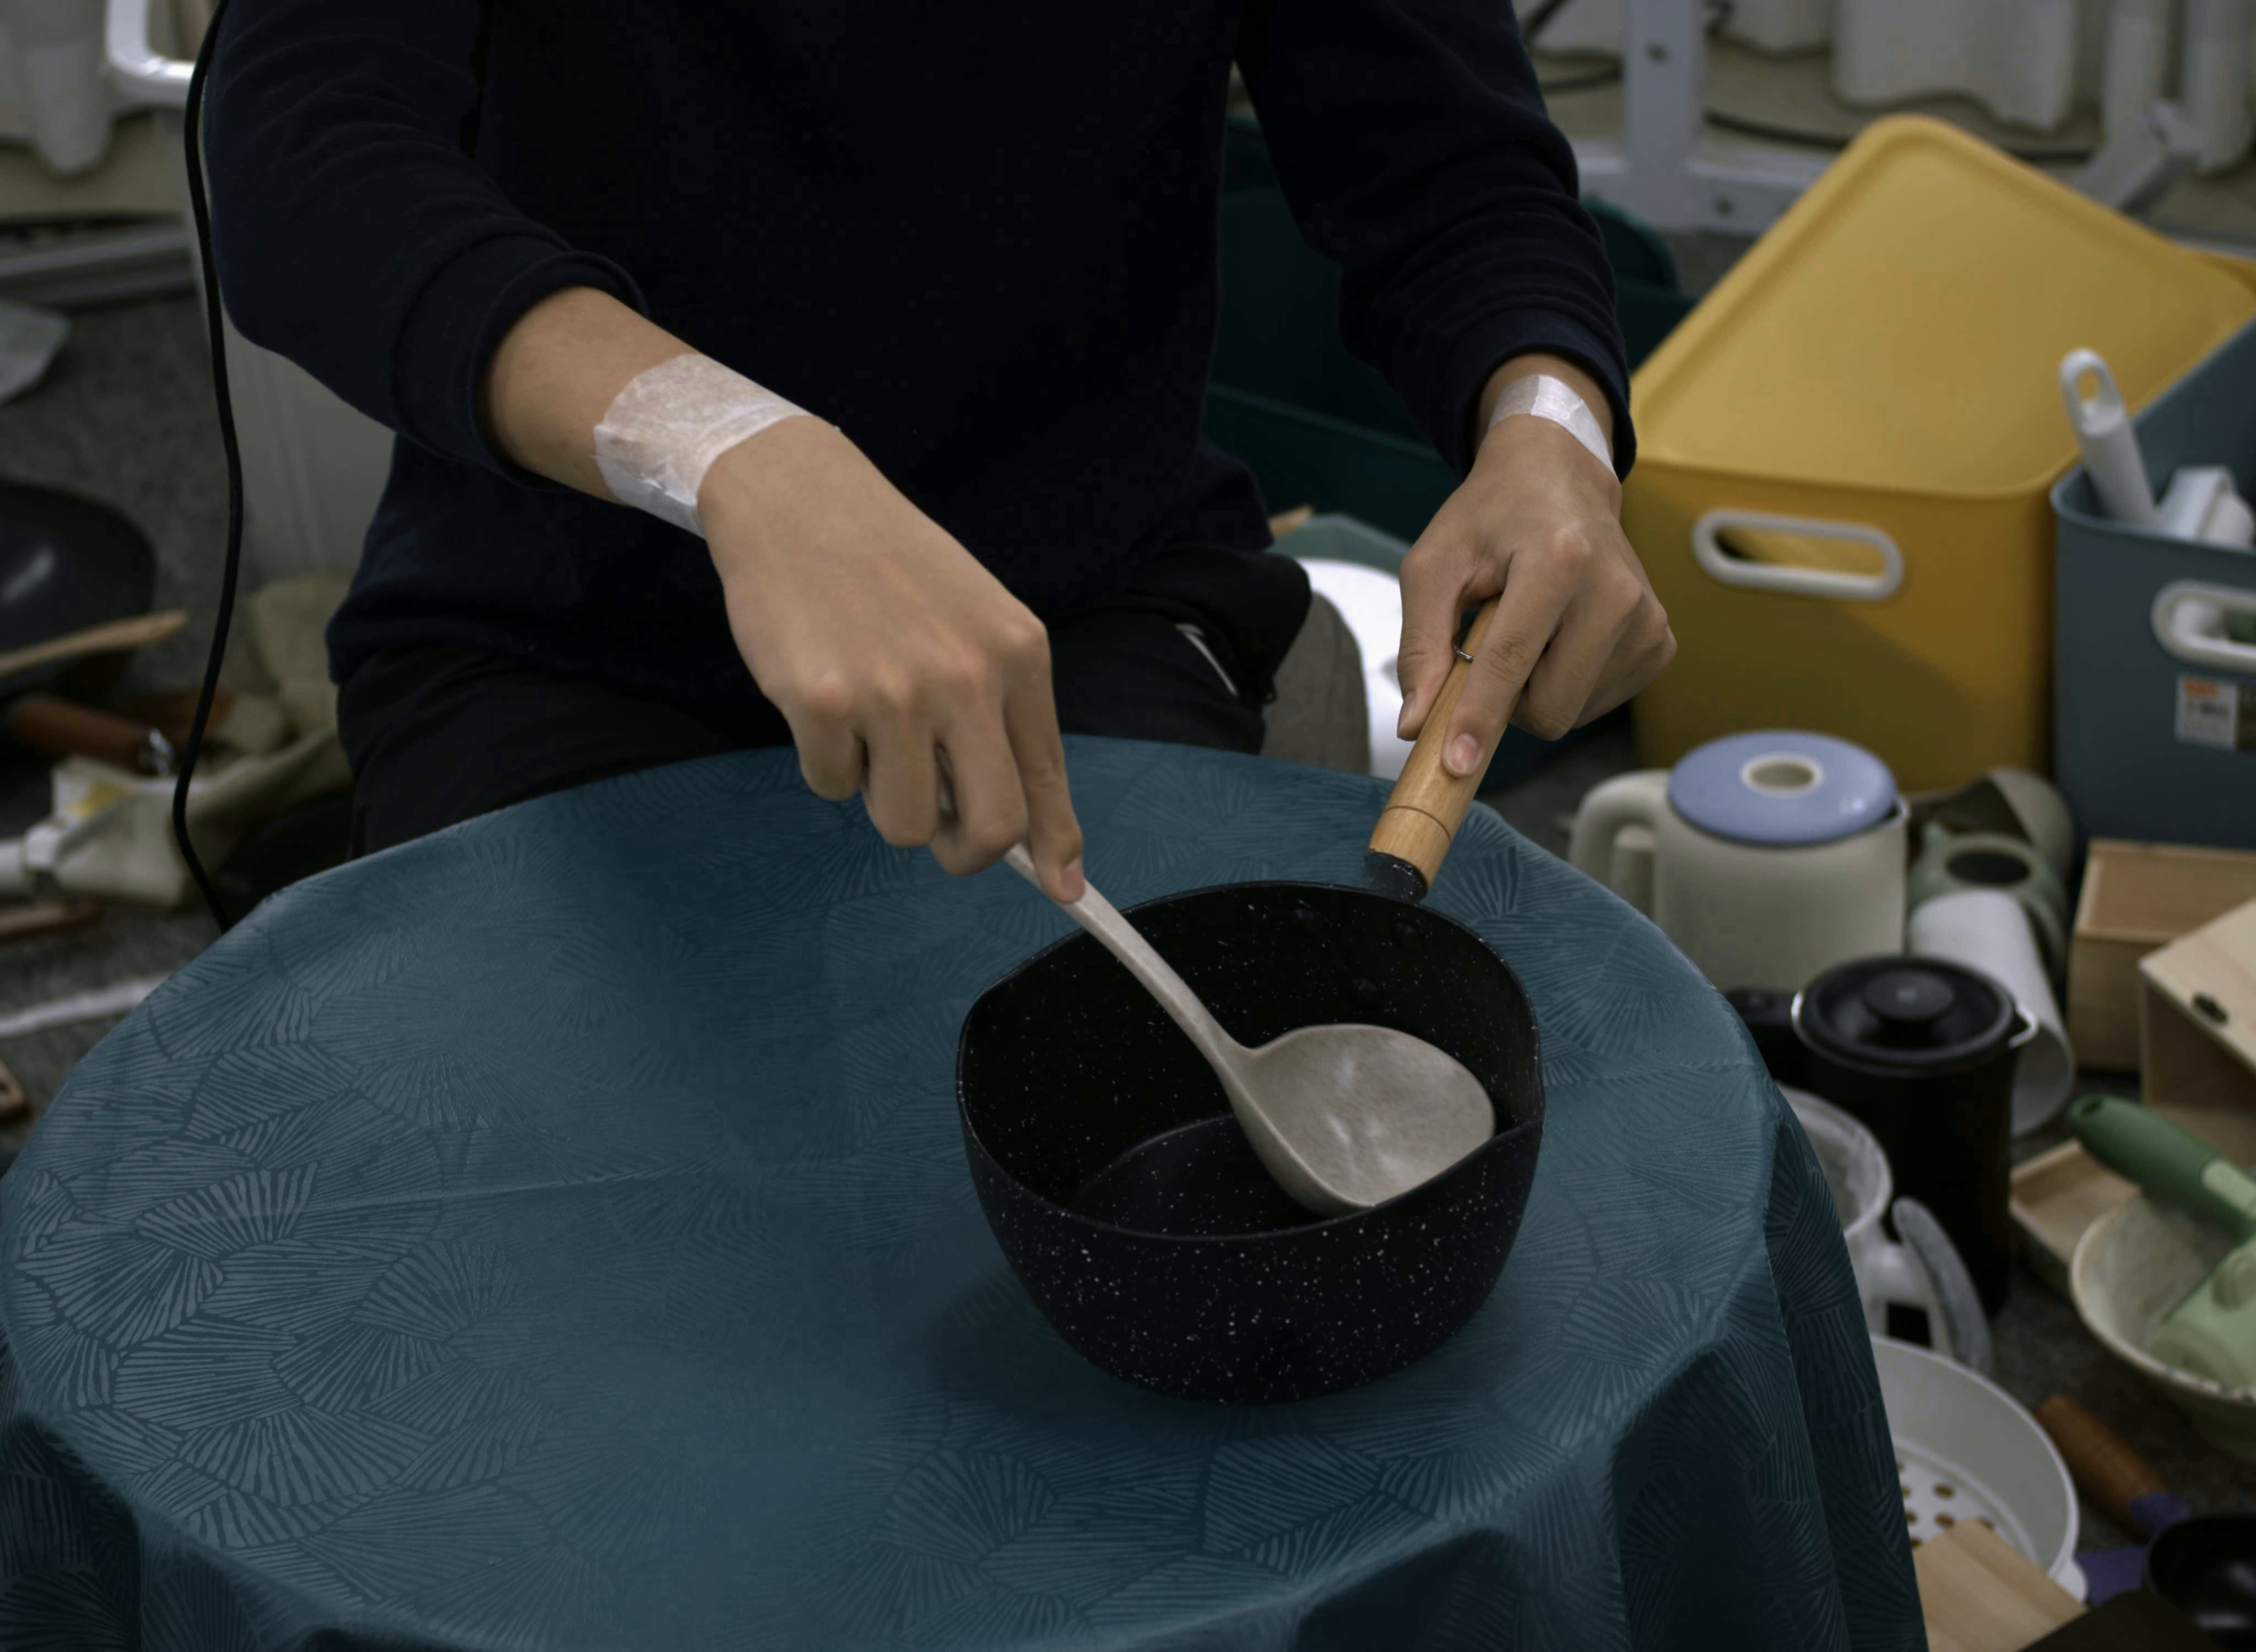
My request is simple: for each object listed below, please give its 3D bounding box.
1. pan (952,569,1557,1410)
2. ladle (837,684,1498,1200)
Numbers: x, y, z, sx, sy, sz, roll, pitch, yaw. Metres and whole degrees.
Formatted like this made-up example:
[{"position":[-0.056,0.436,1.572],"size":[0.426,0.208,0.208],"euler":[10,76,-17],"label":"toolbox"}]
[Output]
[{"position":[0.071,0.050,1.837],"size":[0.206,0.107,0.349],"euler":[8,38,23],"label":"pan"},{"position":[0.017,0.029,1.745],"size":[0.068,0.272,0.091],"euler":[-29,36,19],"label":"ladle"}]
